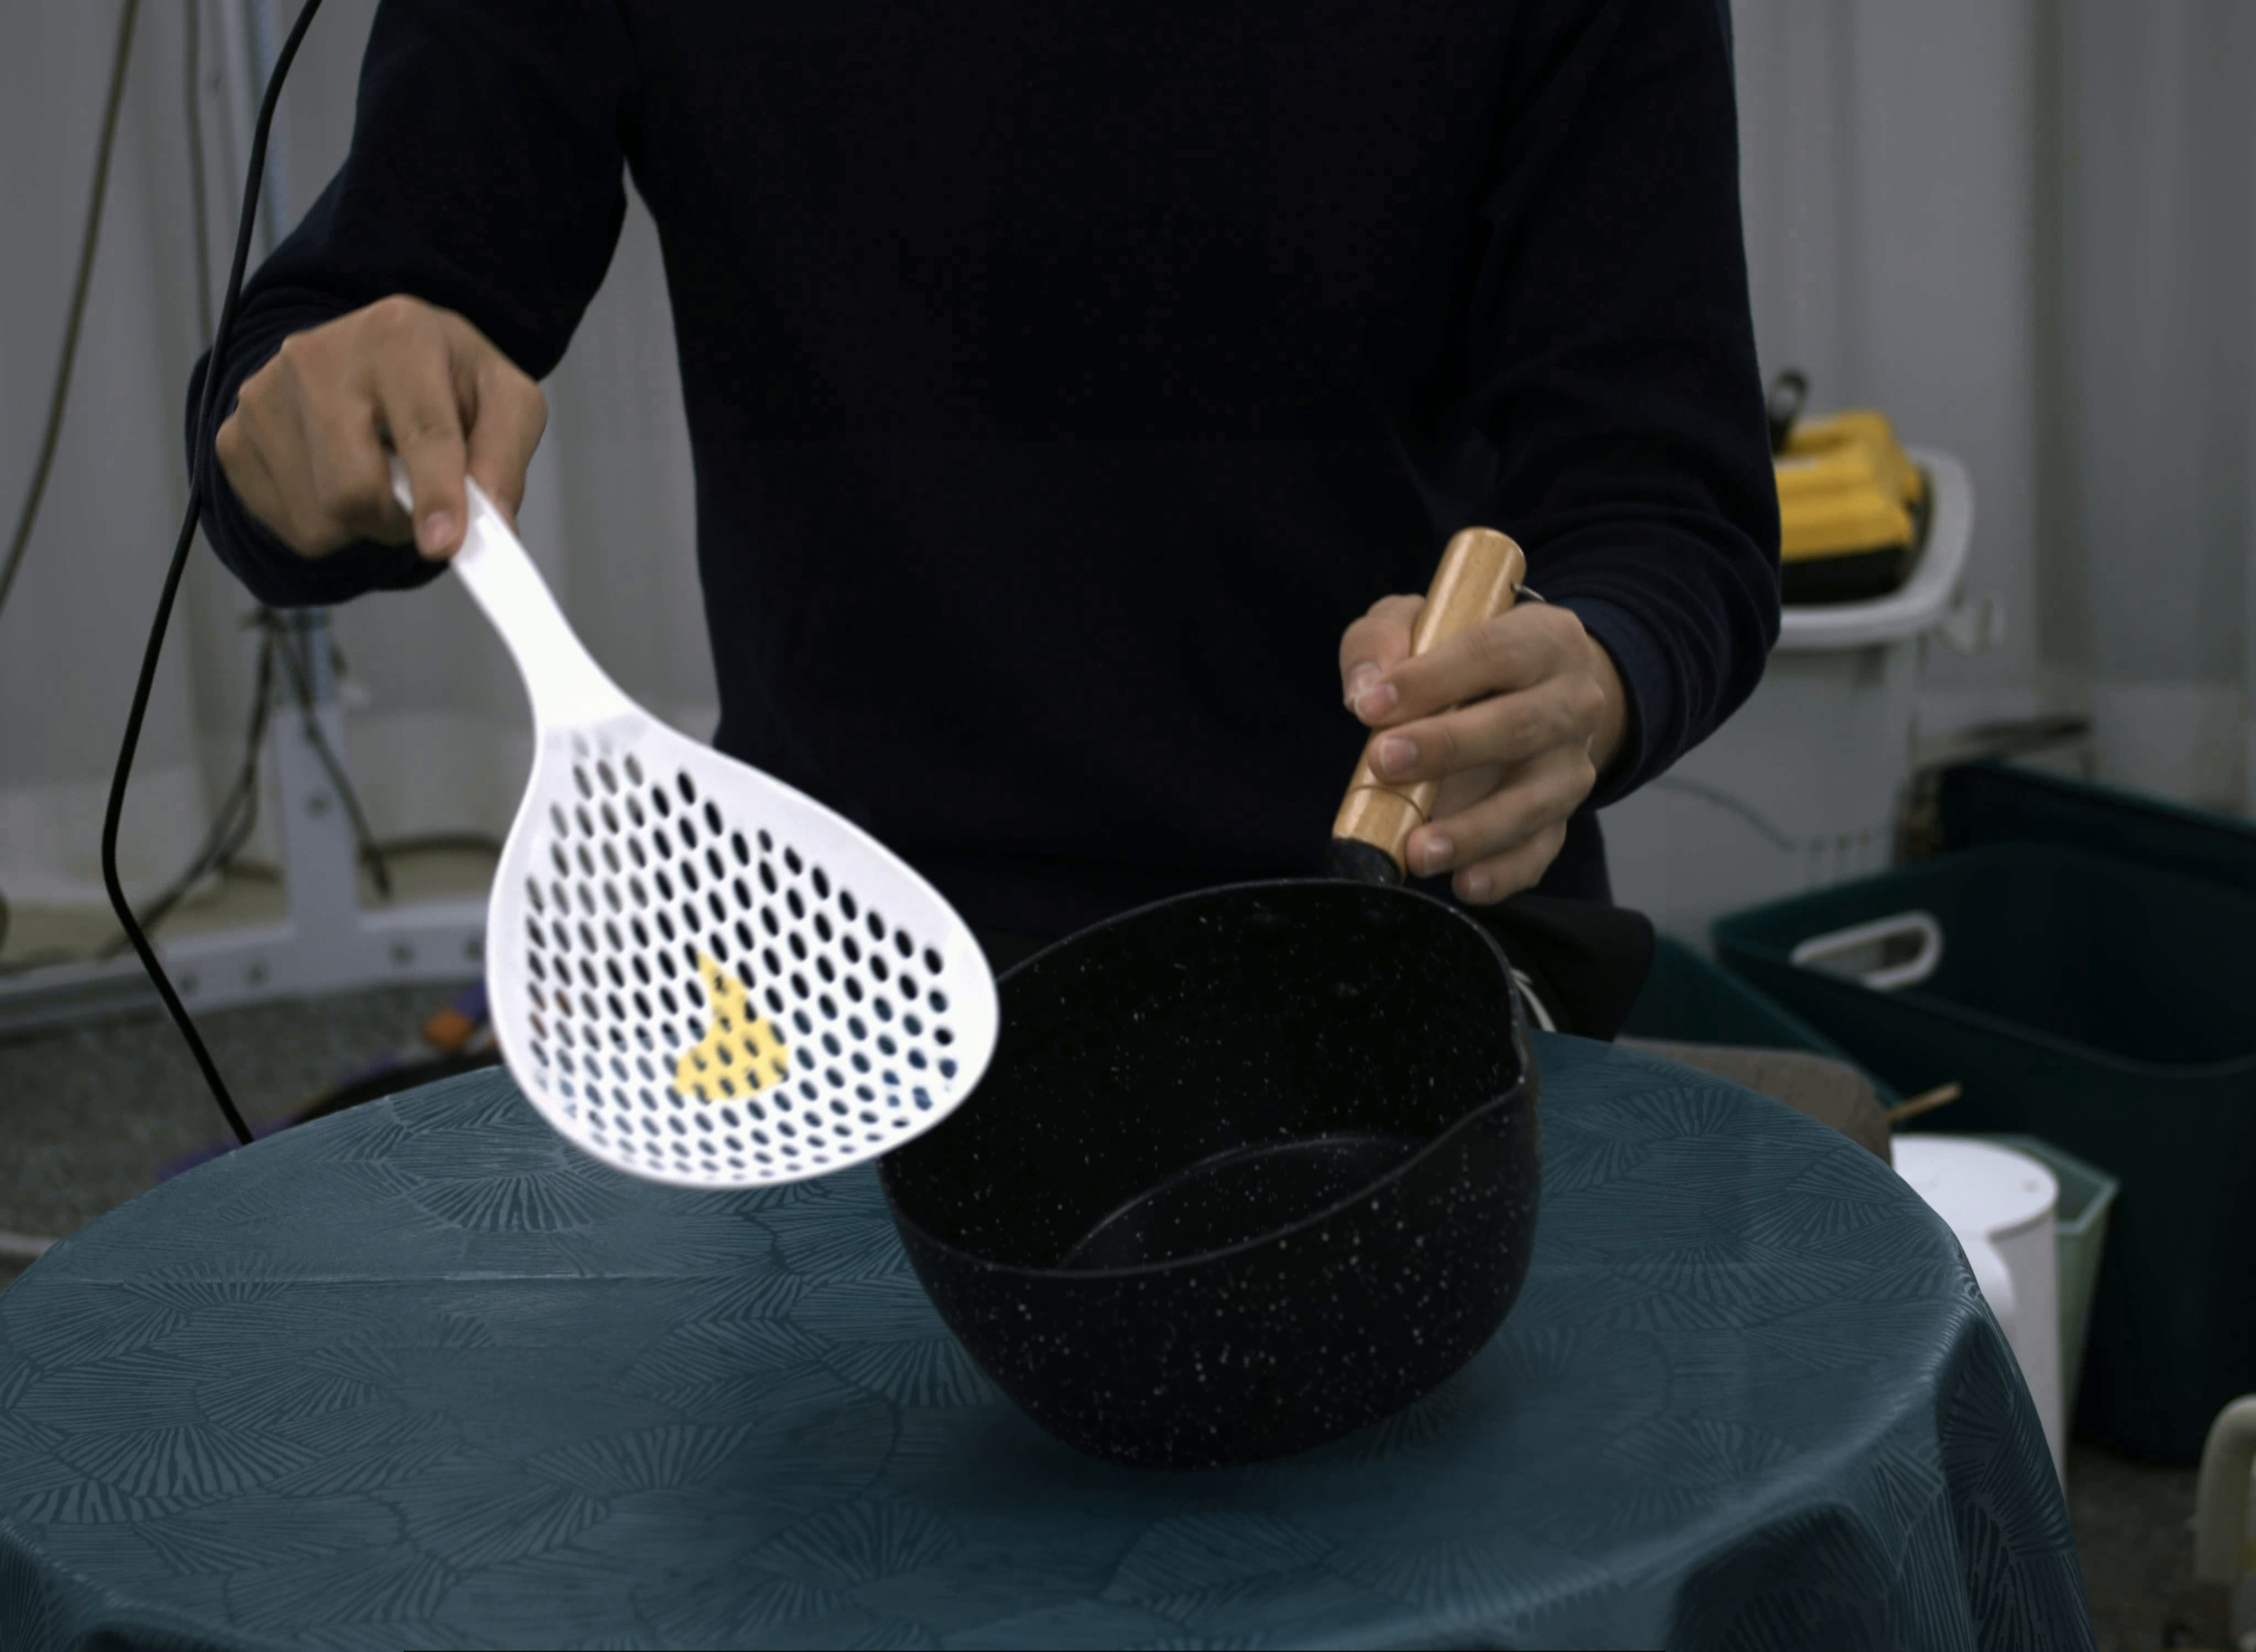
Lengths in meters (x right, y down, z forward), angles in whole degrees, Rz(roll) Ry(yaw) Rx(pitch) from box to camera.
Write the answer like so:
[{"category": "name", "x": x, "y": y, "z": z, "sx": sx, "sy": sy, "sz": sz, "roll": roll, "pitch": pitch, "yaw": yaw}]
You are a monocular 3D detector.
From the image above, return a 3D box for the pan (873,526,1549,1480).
[{"category": "pan", "x": 0.056, "y": 0.047, "z": 1.573, "sx": 0.207, "sy": 0.107, "sz": 0.346, "roll": -2, "pitch": 34, "yaw": 28}]

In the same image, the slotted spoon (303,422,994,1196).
[{"category": "slotted spoon", "x": -0.157, "y": -0.017, "z": 1.551, "sx": 0.136, "sy": 0.050, "sz": 0.353, "roll": -19, "pitch": 53, "yaw": -20}]
